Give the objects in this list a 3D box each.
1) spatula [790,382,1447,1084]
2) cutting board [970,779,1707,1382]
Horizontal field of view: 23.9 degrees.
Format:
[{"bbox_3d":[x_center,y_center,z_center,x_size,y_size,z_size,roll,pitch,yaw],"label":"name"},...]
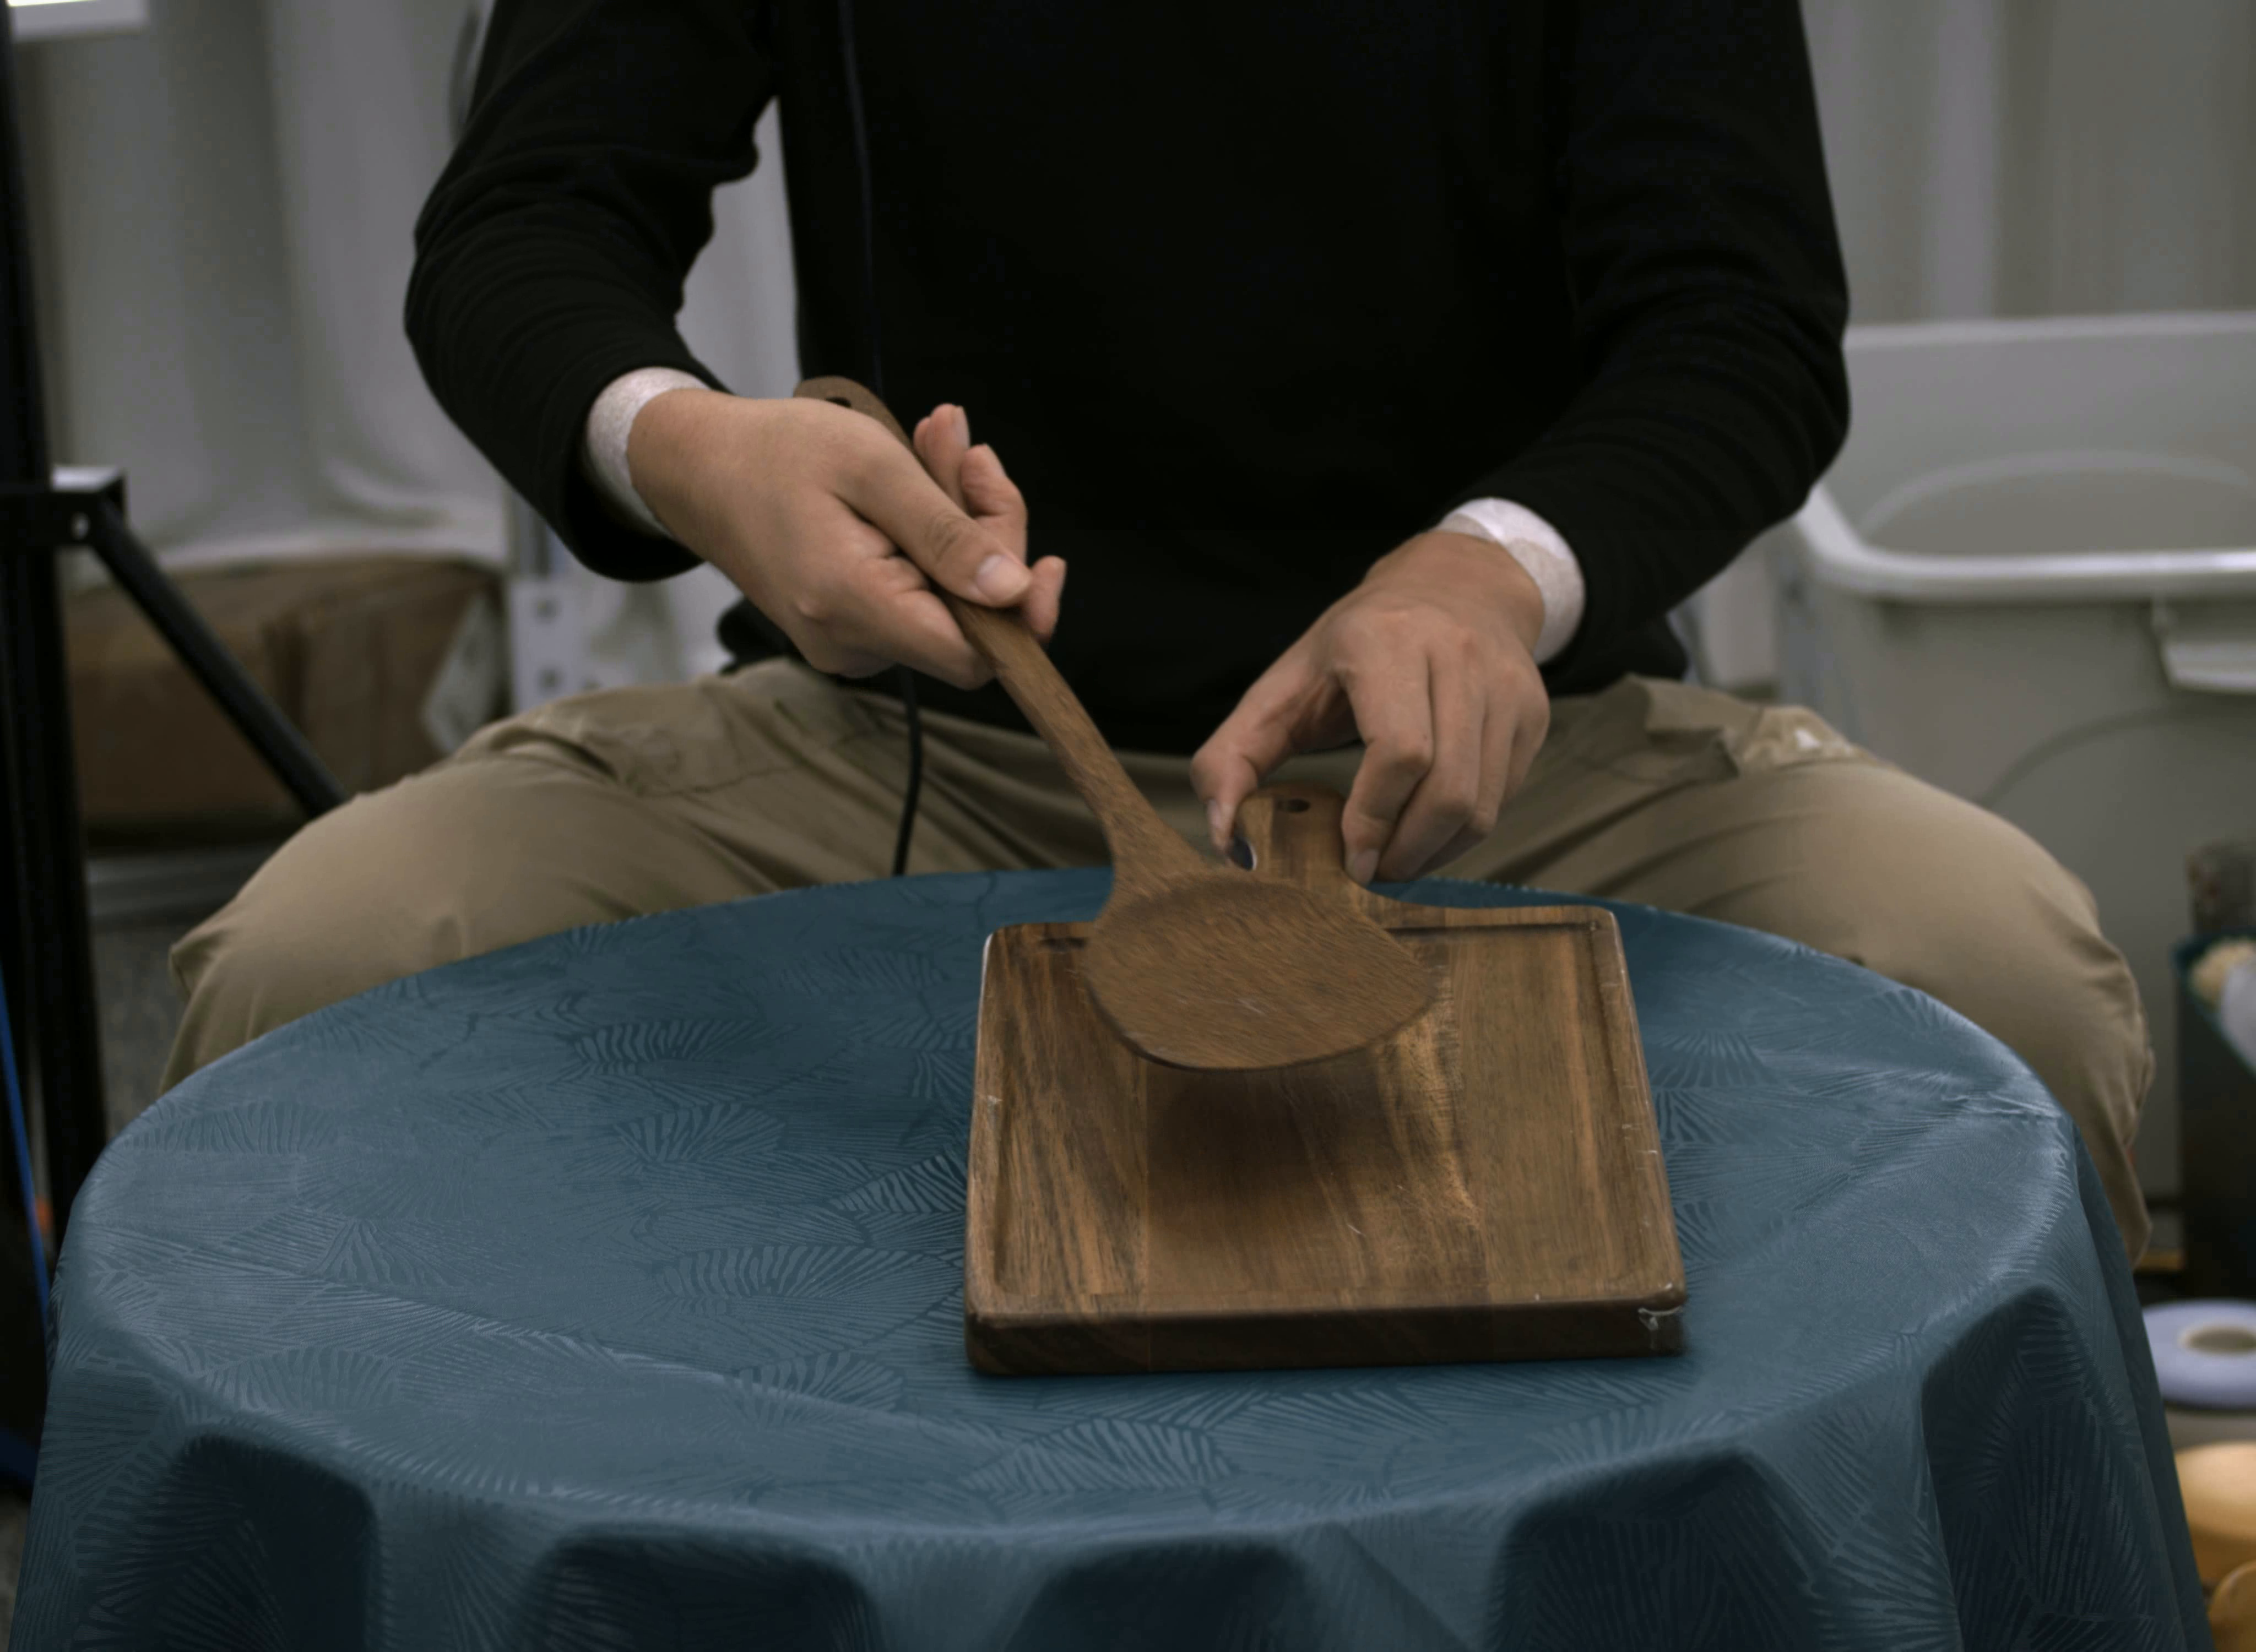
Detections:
[{"bbox_3d":[-0.024,-0.039,1.626,0.094,0.016,0.394,-13,39,-21],"label":"spatula"},{"bbox_3d":[0.054,0.066,1.569,0.200,0.023,0.354,-3,24,1],"label":"cutting board"}]
